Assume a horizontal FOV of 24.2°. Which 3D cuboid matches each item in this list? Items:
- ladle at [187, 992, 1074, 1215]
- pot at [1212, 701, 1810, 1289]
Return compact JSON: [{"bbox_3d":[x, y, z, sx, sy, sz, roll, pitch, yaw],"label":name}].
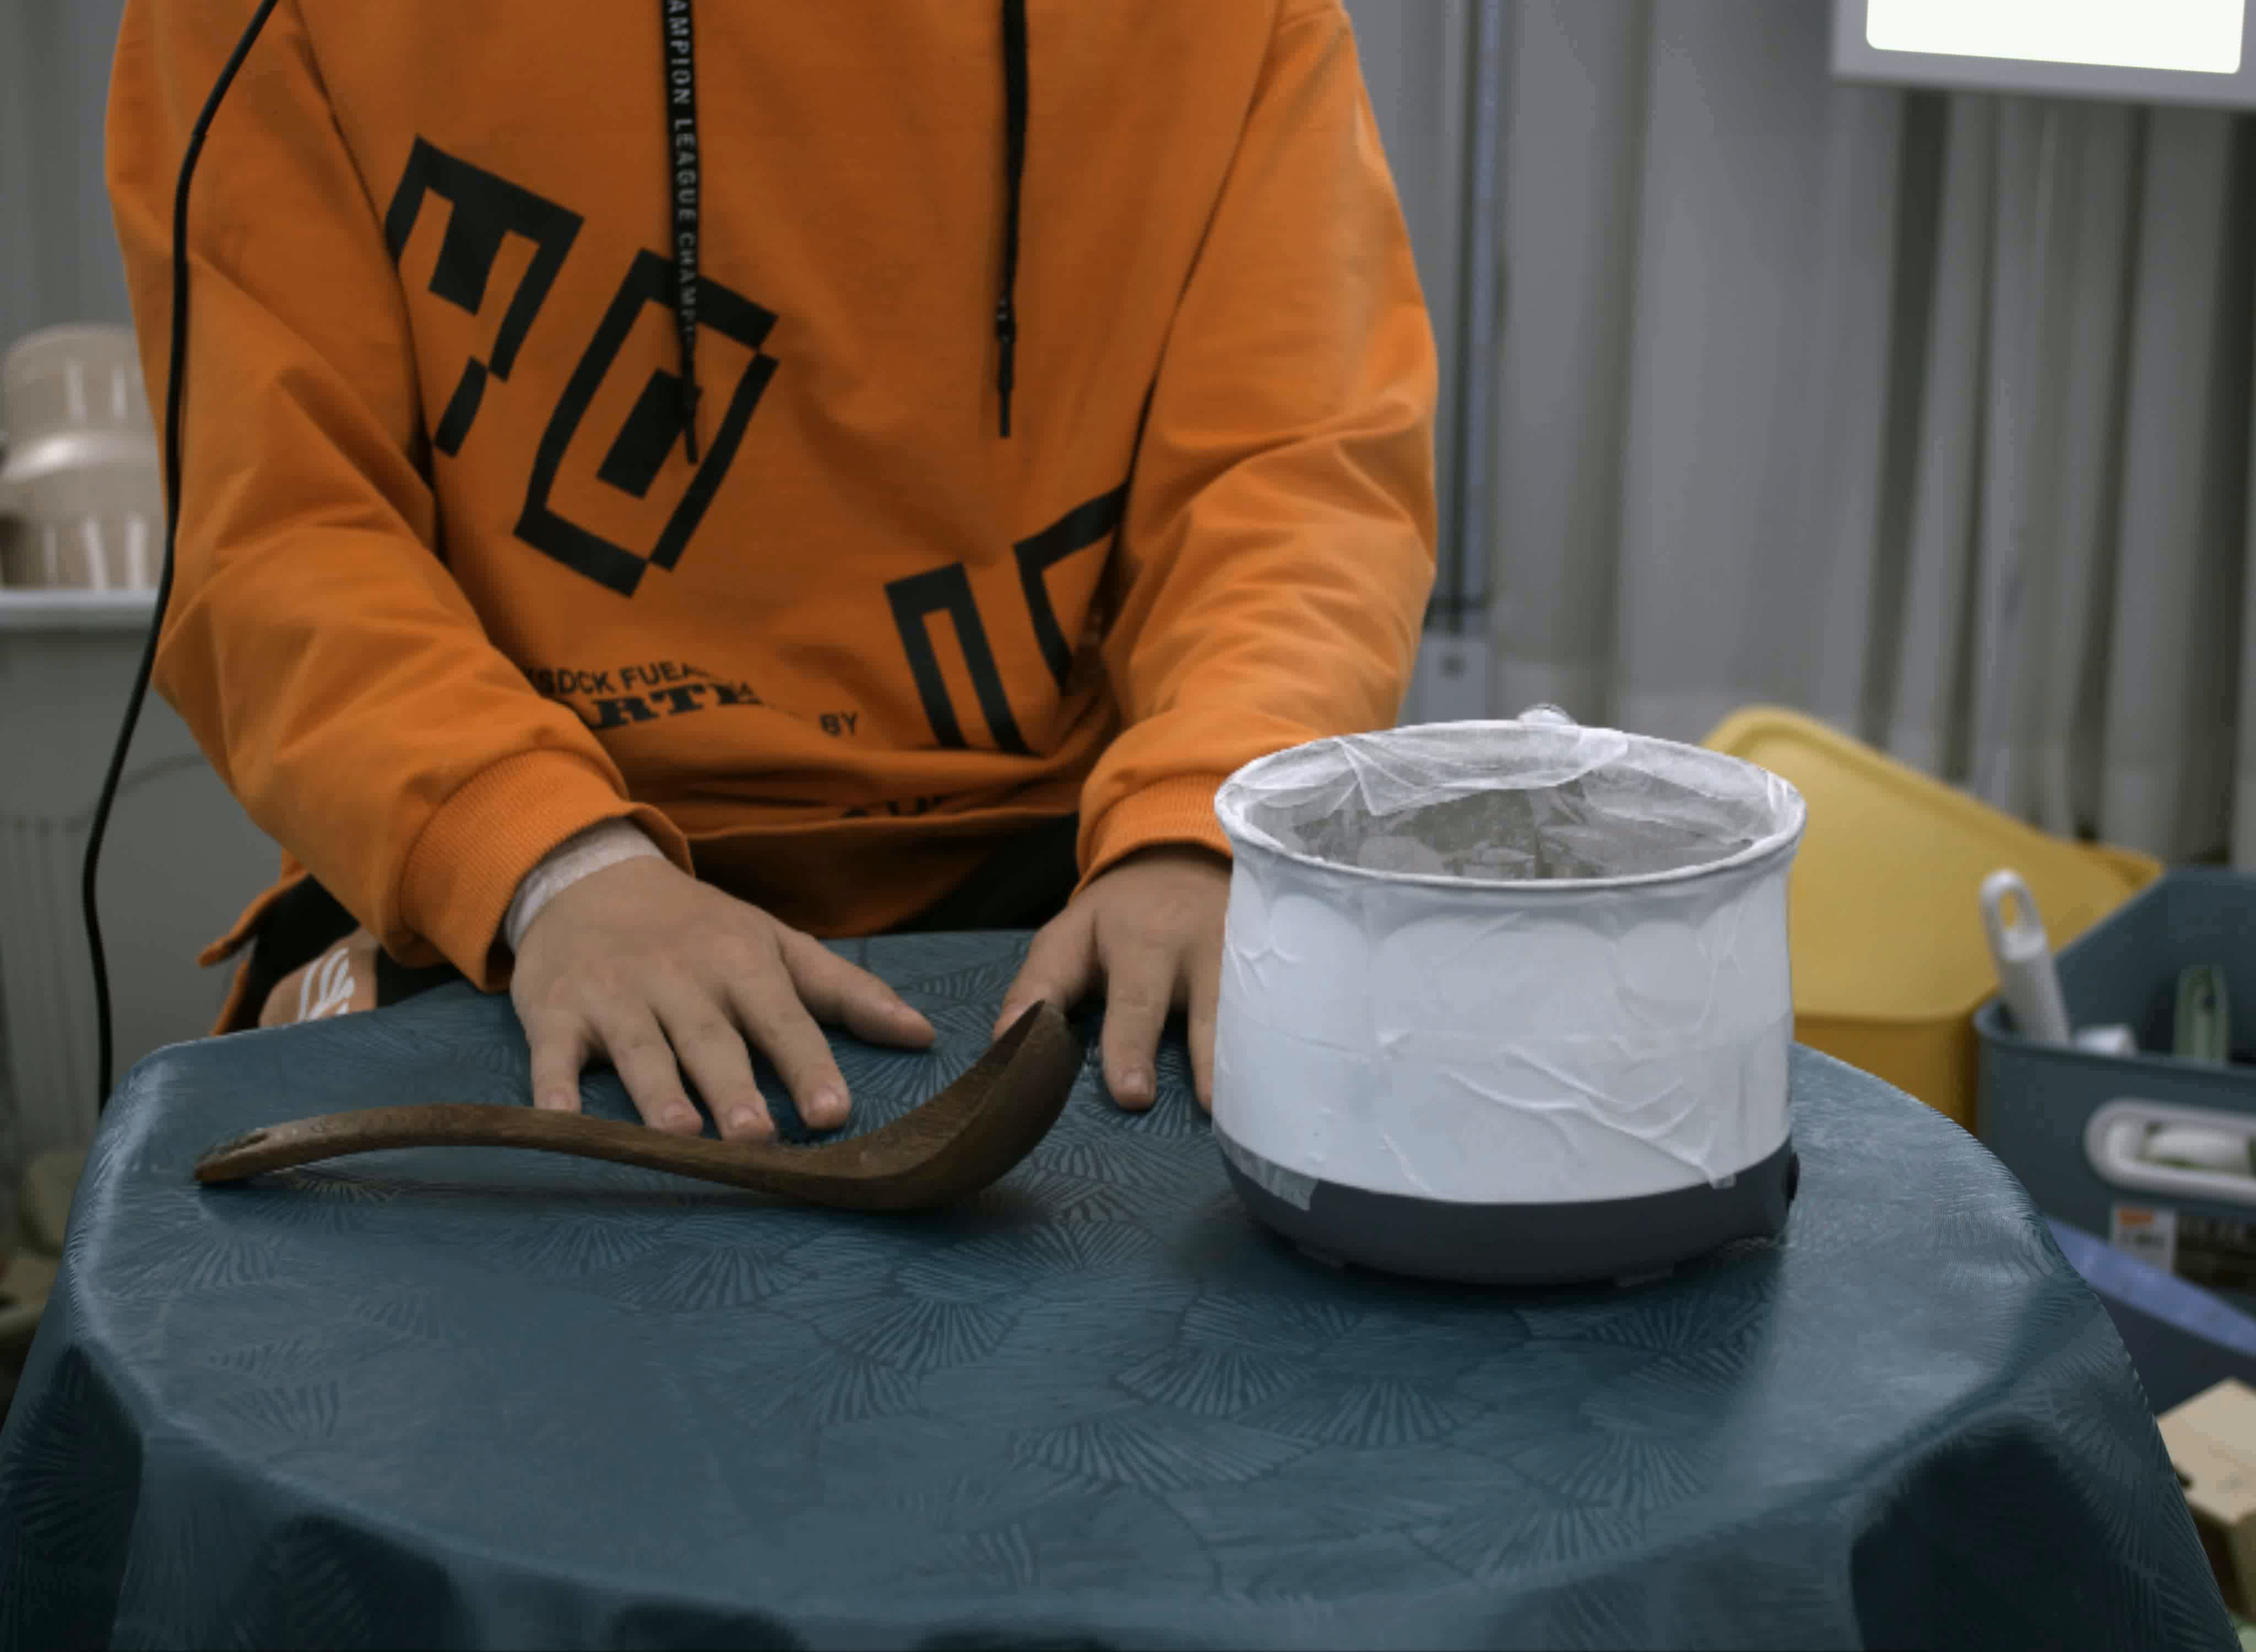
[{"bbox_3d":[-0.153,0.080,1.604,0.273,0.072,0.076,3,13,5],"label":"ladle"},{"bbox_3d":[0.118,0.045,1.609,0.177,0.138,0.233,3,16,8],"label":"pot"}]
